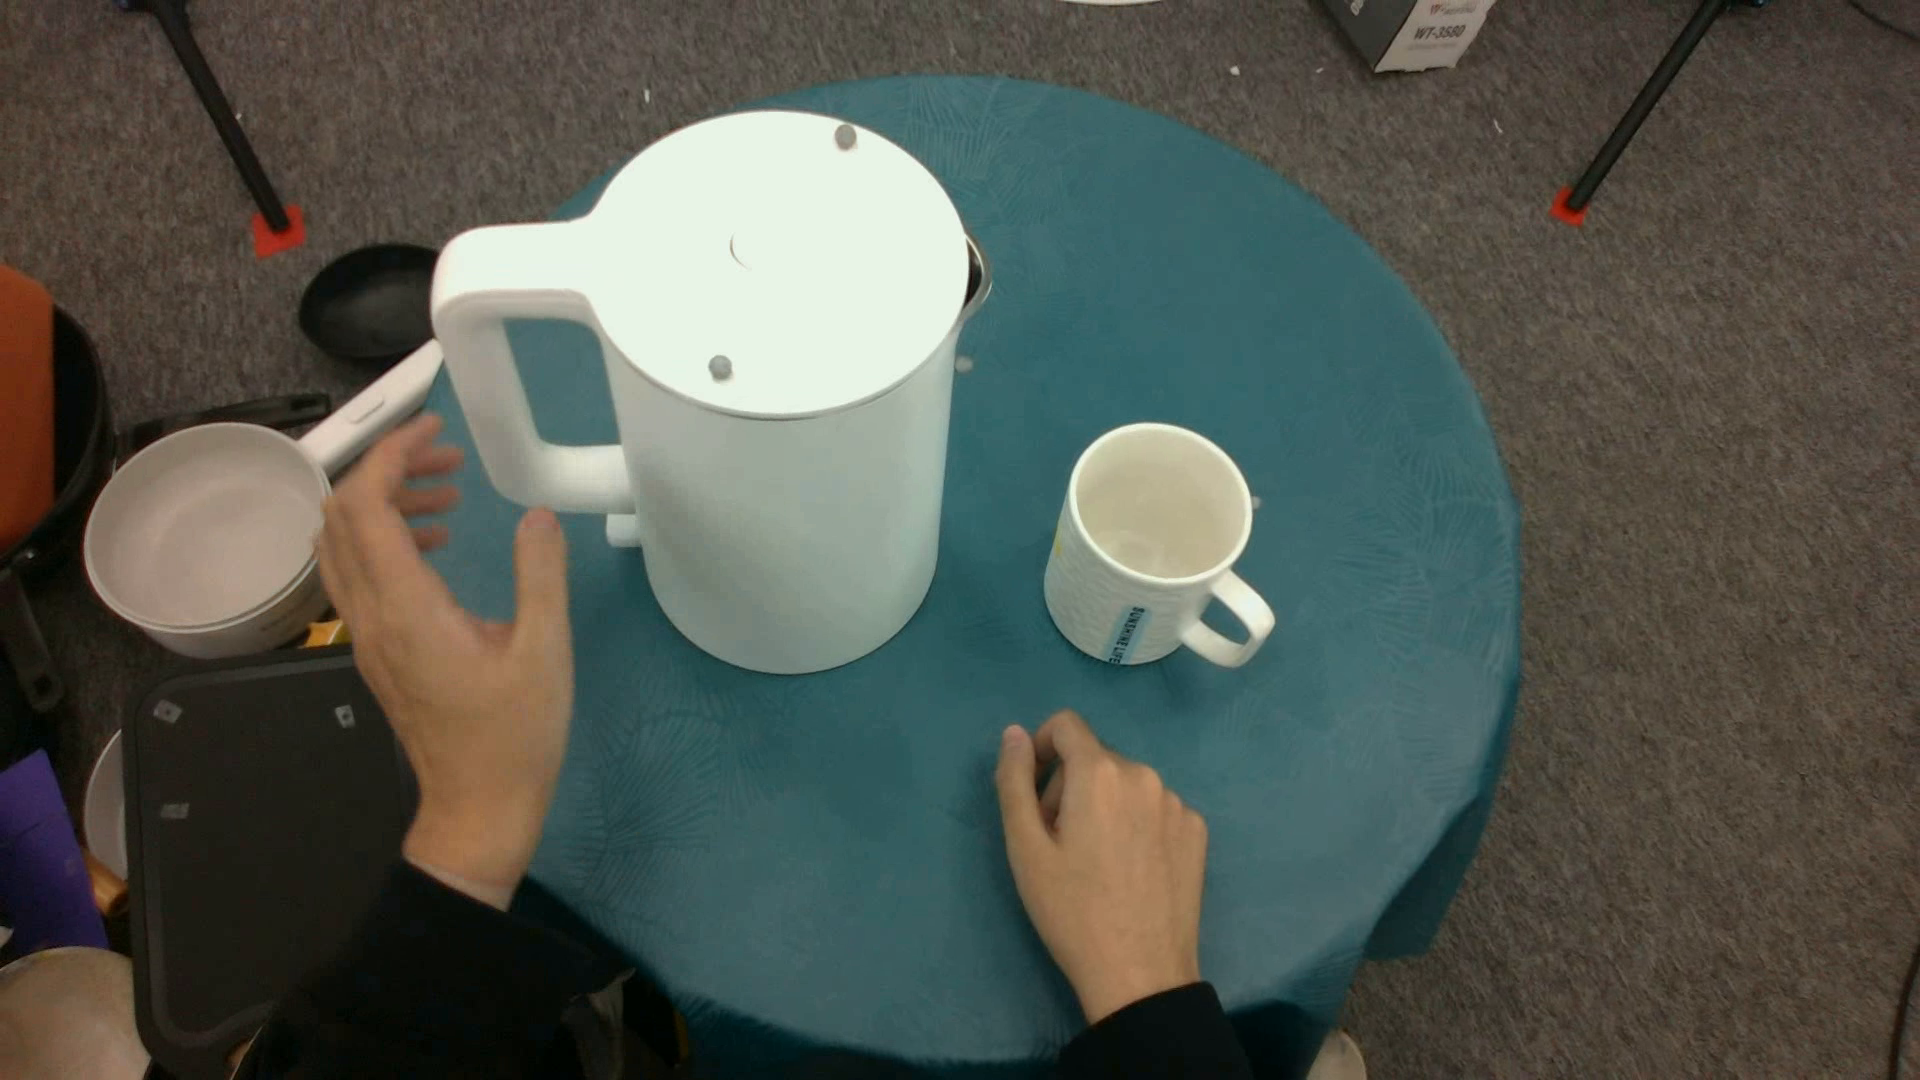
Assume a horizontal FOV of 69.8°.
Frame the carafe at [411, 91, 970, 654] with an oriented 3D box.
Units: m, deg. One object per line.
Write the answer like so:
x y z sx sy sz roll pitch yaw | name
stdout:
-0.113 -0.064 0.614 0.213 0.239 0.152 -1 61 -8 | carafe

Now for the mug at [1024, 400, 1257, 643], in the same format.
0.090 0.004 0.673 0.118 0.101 0.085 42 66 15 | mug
